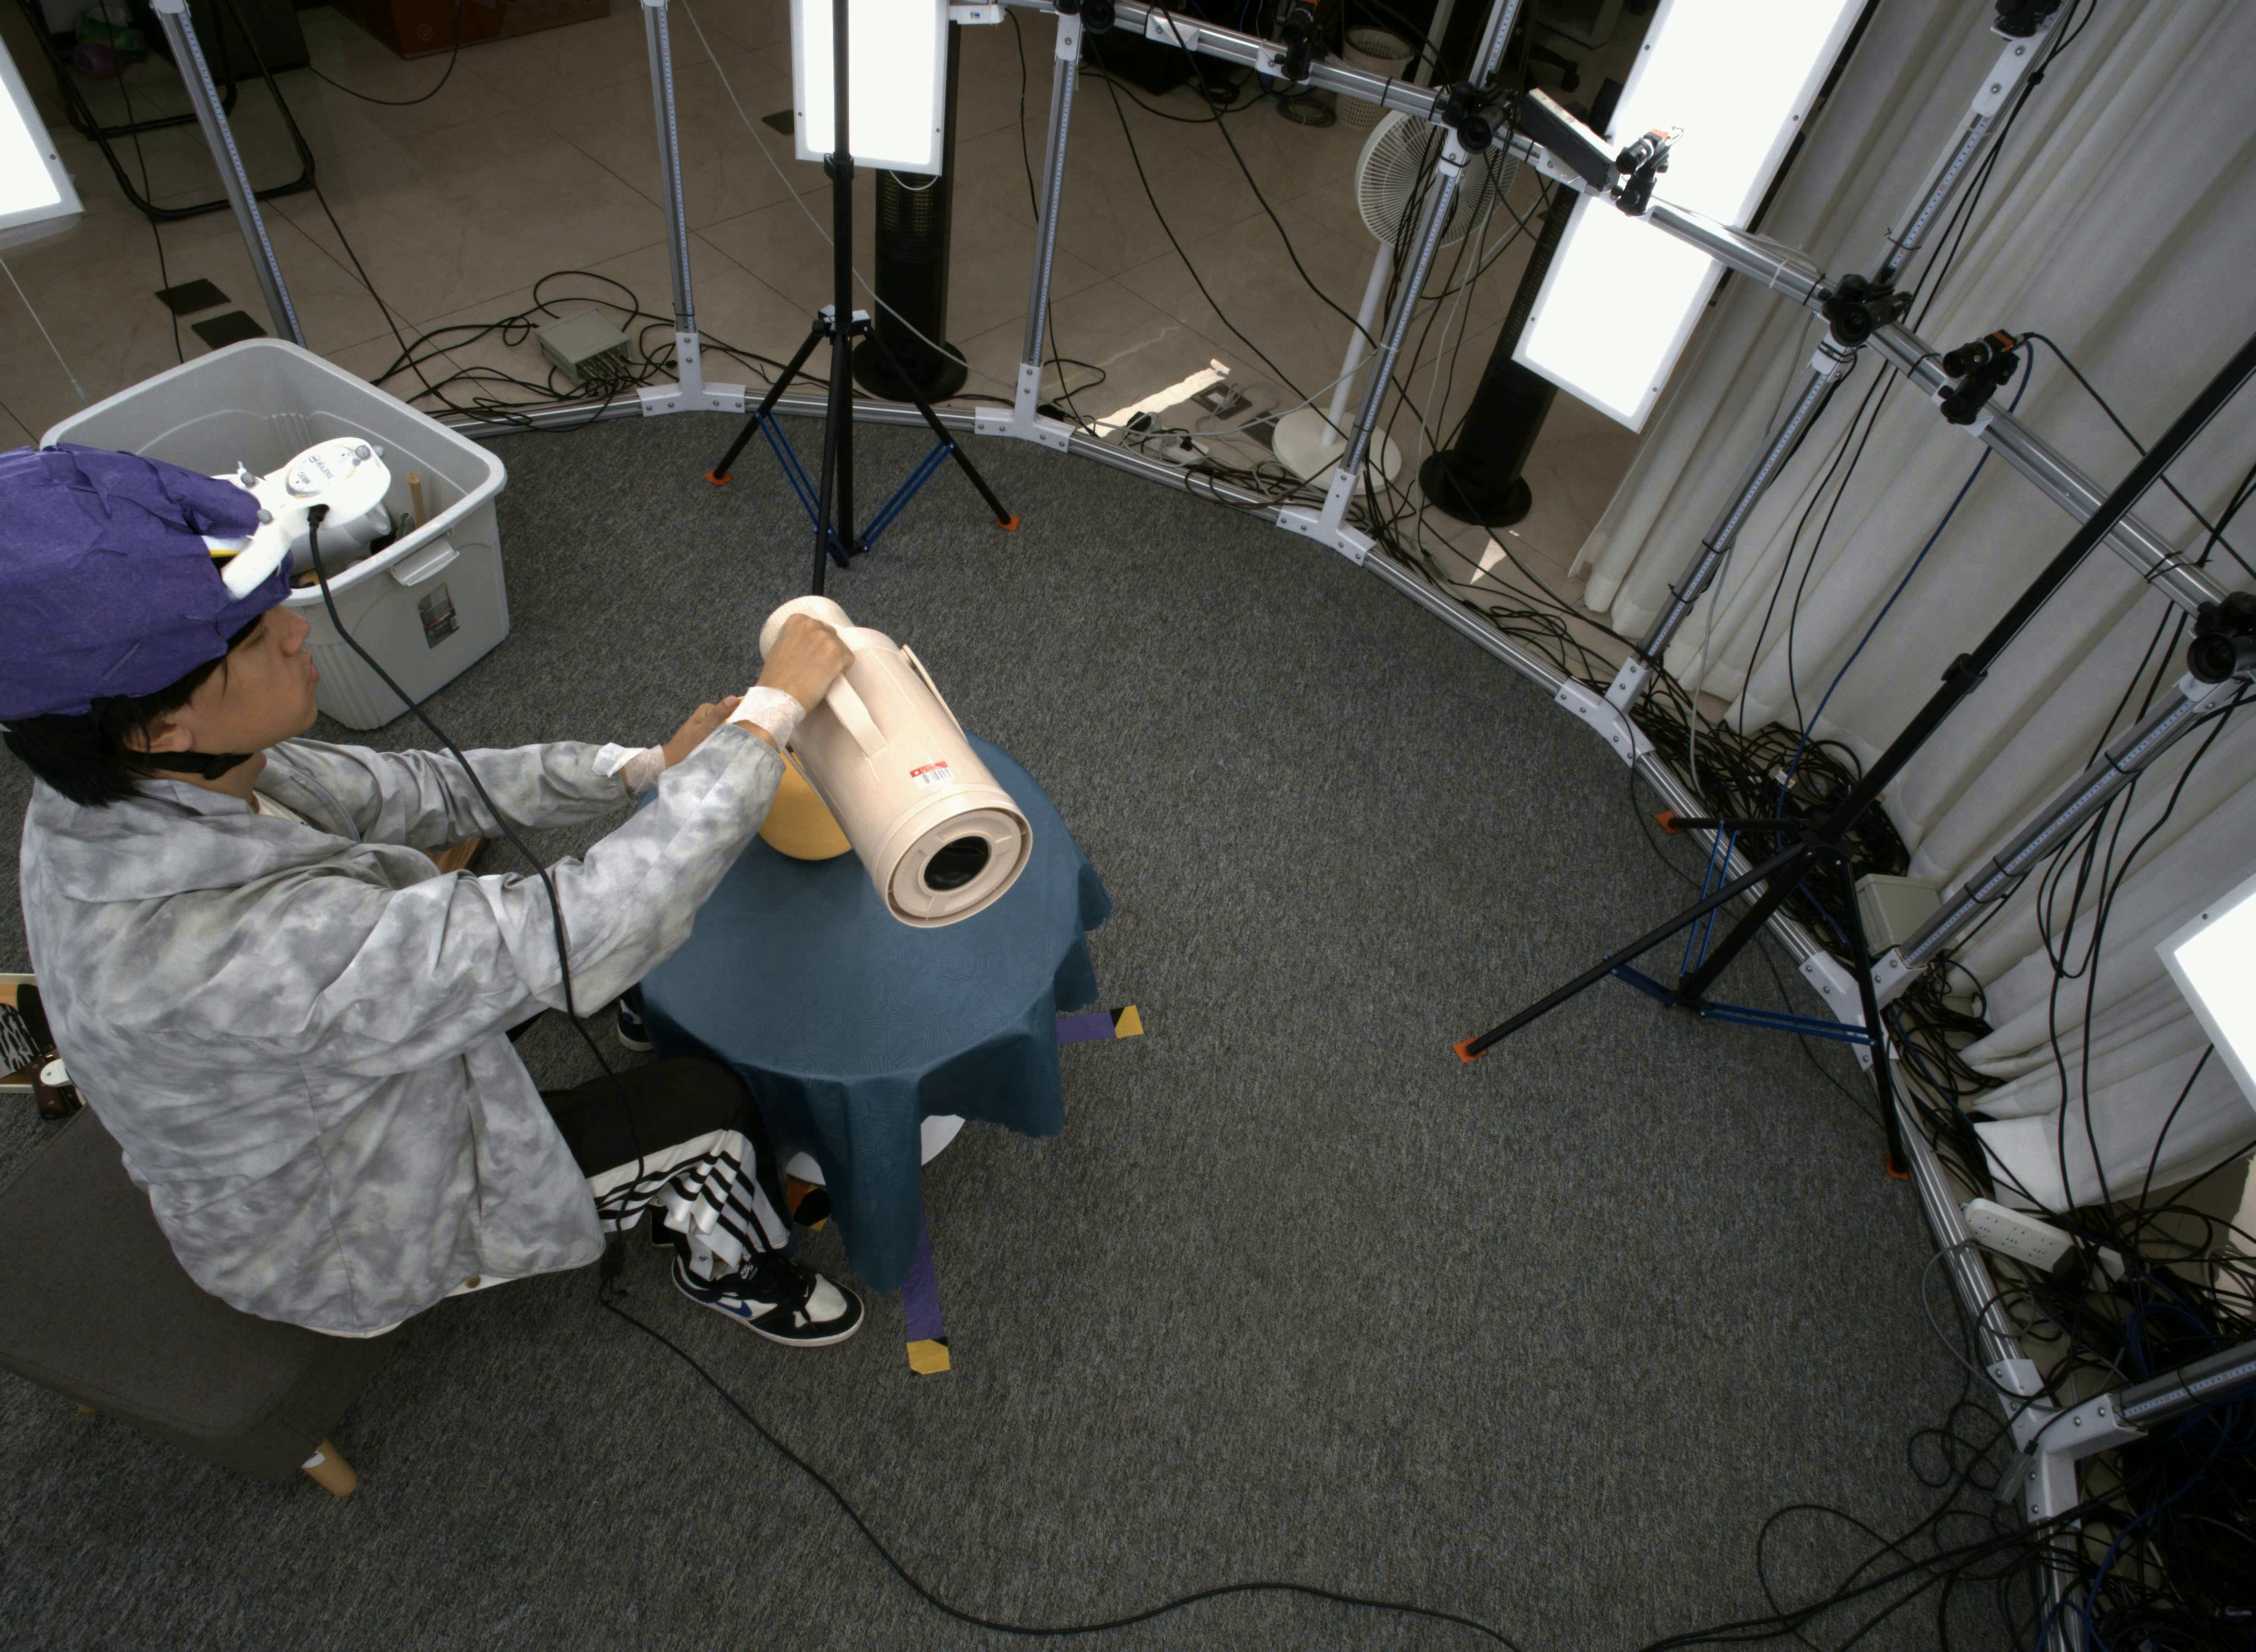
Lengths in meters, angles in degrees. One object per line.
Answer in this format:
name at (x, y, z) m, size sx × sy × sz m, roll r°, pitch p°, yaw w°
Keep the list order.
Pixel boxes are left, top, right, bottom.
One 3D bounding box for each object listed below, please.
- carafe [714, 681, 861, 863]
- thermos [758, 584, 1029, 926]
carafe at (-0.411, -0.085, 1.624) m, size 0.203 × 0.266 × 0.159 m, roll -6°, pitch 52°, yaw -17°
thermos at (-0.267, -0.099, 1.325) m, size 0.175 × 0.214 × 0.394 m, roll -34°, pitch 58°, yaw -5°
